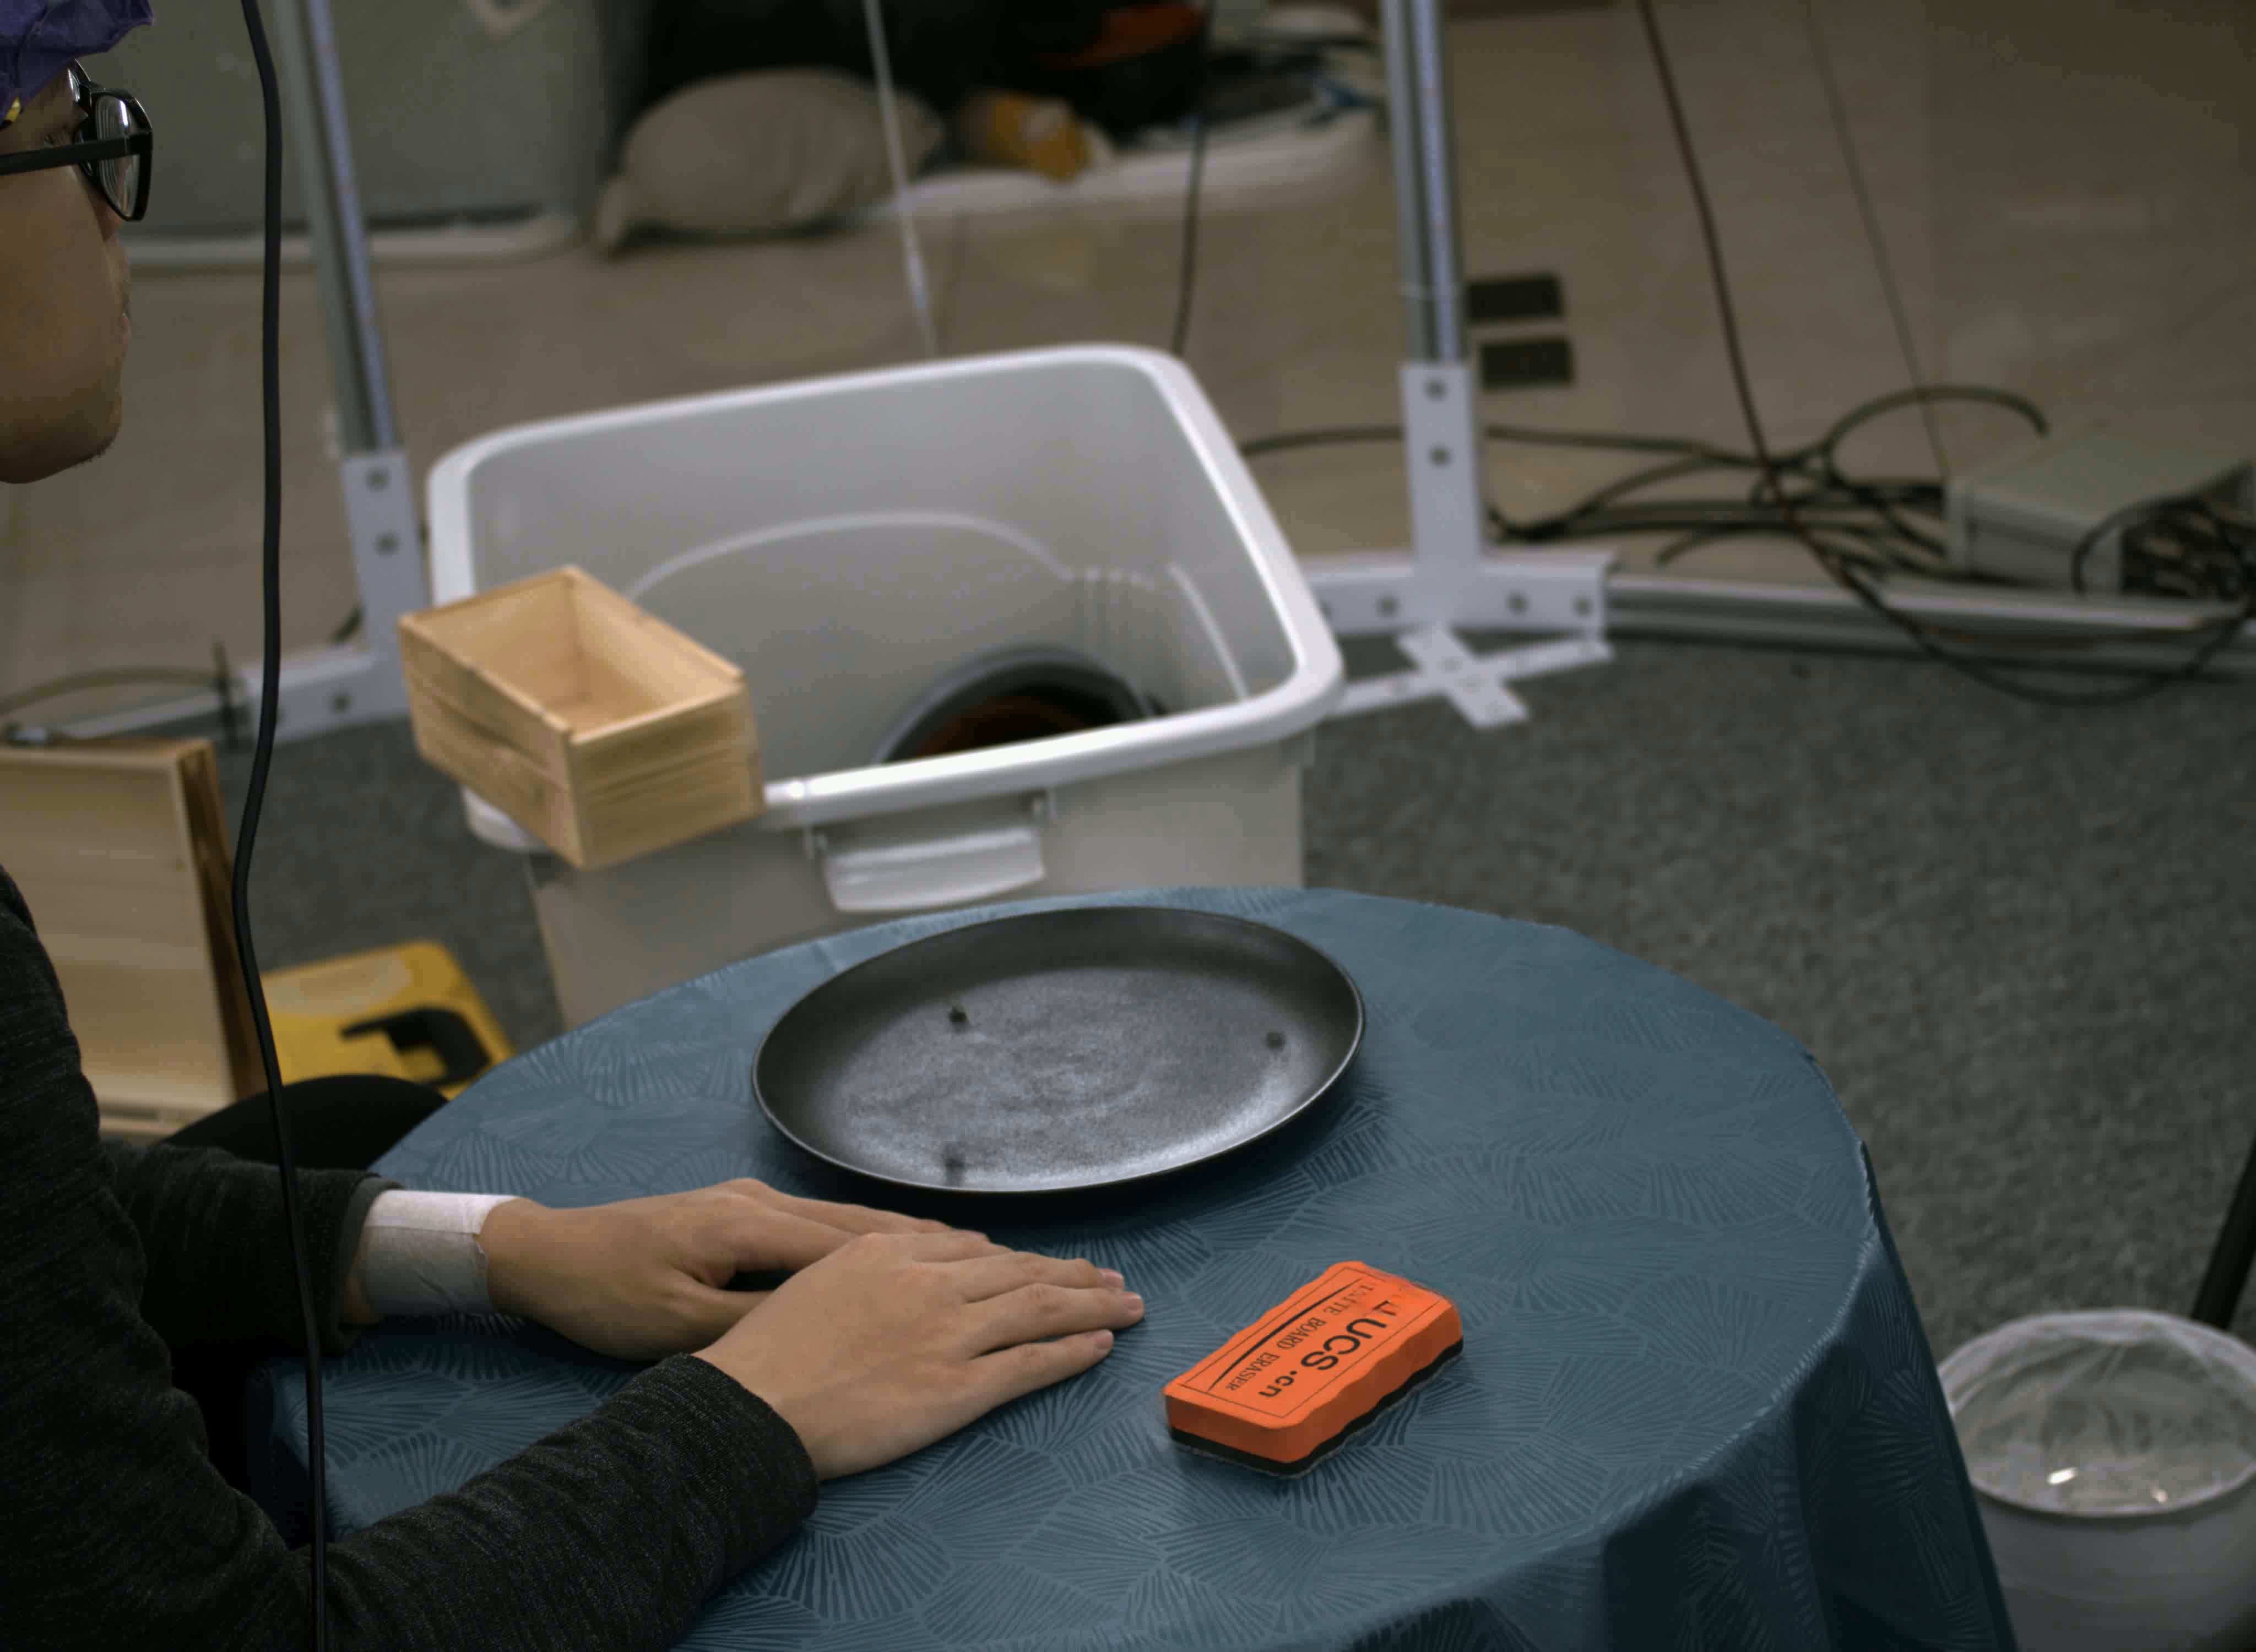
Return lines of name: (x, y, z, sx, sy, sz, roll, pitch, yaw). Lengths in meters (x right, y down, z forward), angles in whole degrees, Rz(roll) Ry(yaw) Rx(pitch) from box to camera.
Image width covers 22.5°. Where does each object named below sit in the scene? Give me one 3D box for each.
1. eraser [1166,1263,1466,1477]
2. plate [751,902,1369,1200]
eraser: (0.066, 0.190, 1.993, 0.058, 0.023, 0.107, 13, 31, 40)
plate: (-0.026, 0.093, 2.225, 0.244, 0.024, 0.241, -5, 25, 3)
